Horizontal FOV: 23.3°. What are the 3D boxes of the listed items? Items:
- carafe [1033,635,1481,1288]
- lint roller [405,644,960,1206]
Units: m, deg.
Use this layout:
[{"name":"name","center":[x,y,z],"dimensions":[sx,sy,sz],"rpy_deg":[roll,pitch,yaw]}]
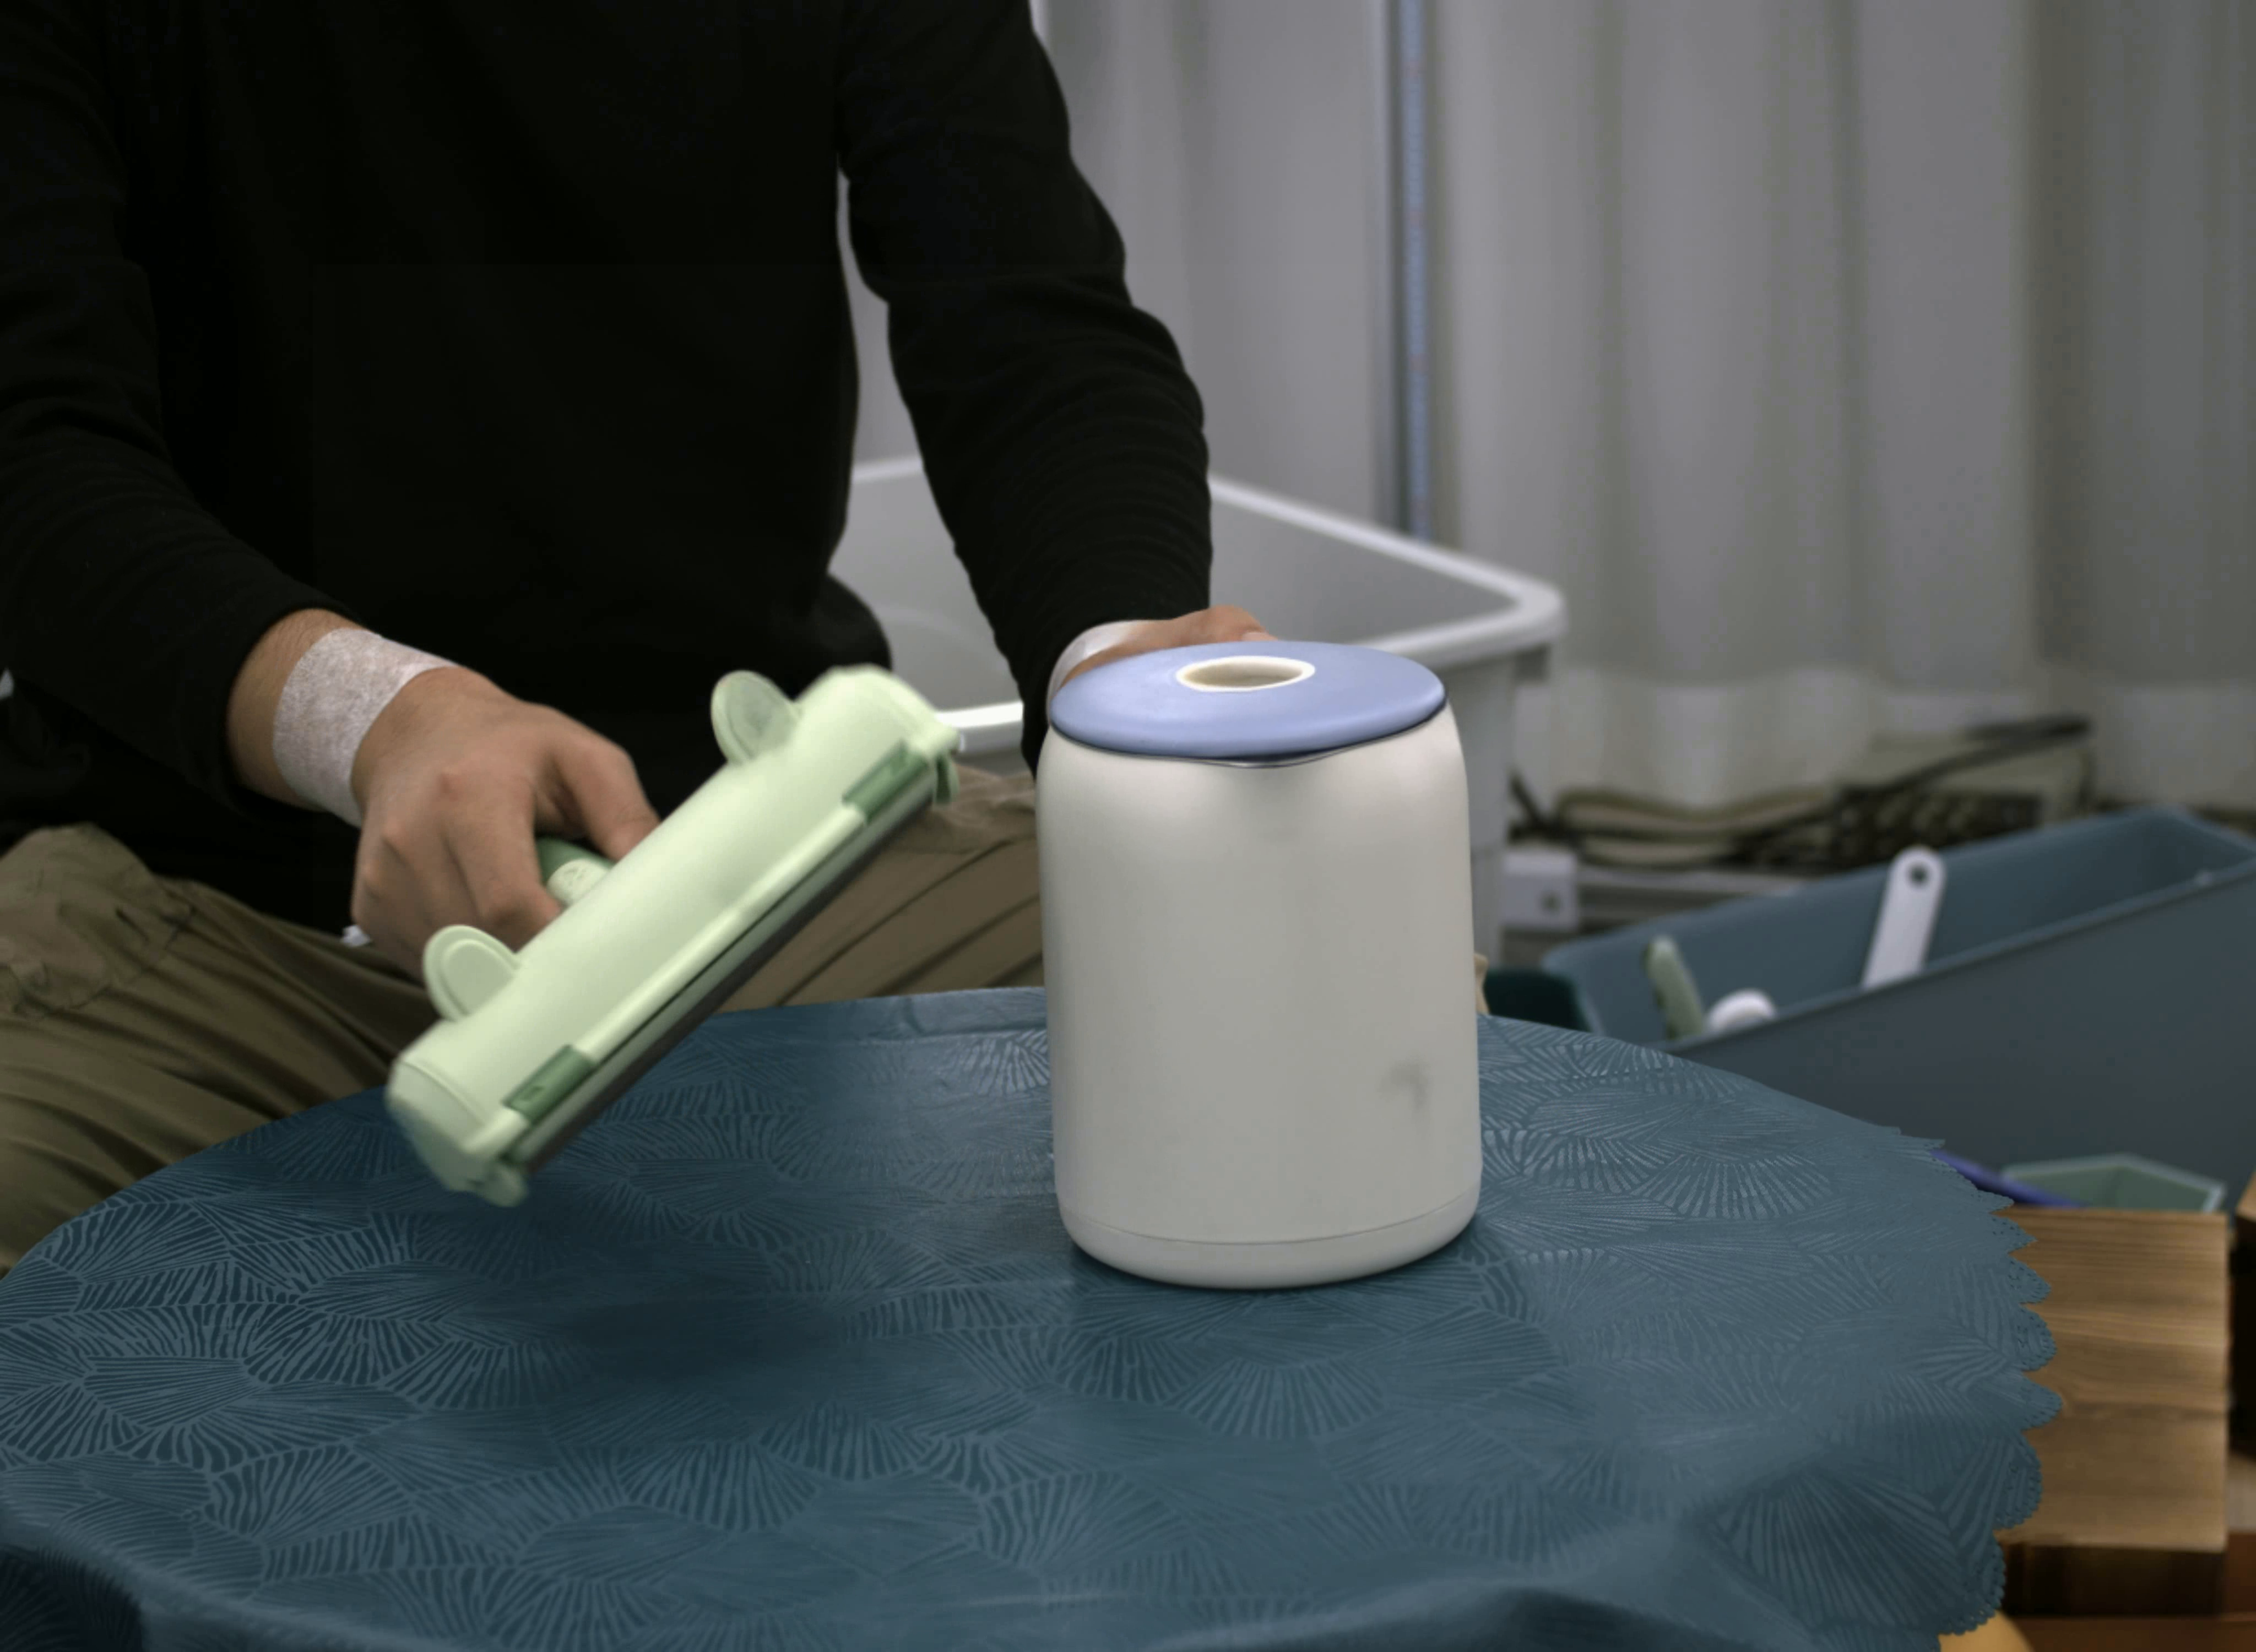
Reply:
[{"name":"carafe","center":[0.036,0.034,1.678],"dimensions":[0.131,0.182,0.192],"rpy_deg":[-4,12,-7]},{"name":"lint roller","center":[-0.164,0.012,1.642],"dimensions":[0.199,0.081,0.184],"rpy_deg":[-46,34,-20]}]
